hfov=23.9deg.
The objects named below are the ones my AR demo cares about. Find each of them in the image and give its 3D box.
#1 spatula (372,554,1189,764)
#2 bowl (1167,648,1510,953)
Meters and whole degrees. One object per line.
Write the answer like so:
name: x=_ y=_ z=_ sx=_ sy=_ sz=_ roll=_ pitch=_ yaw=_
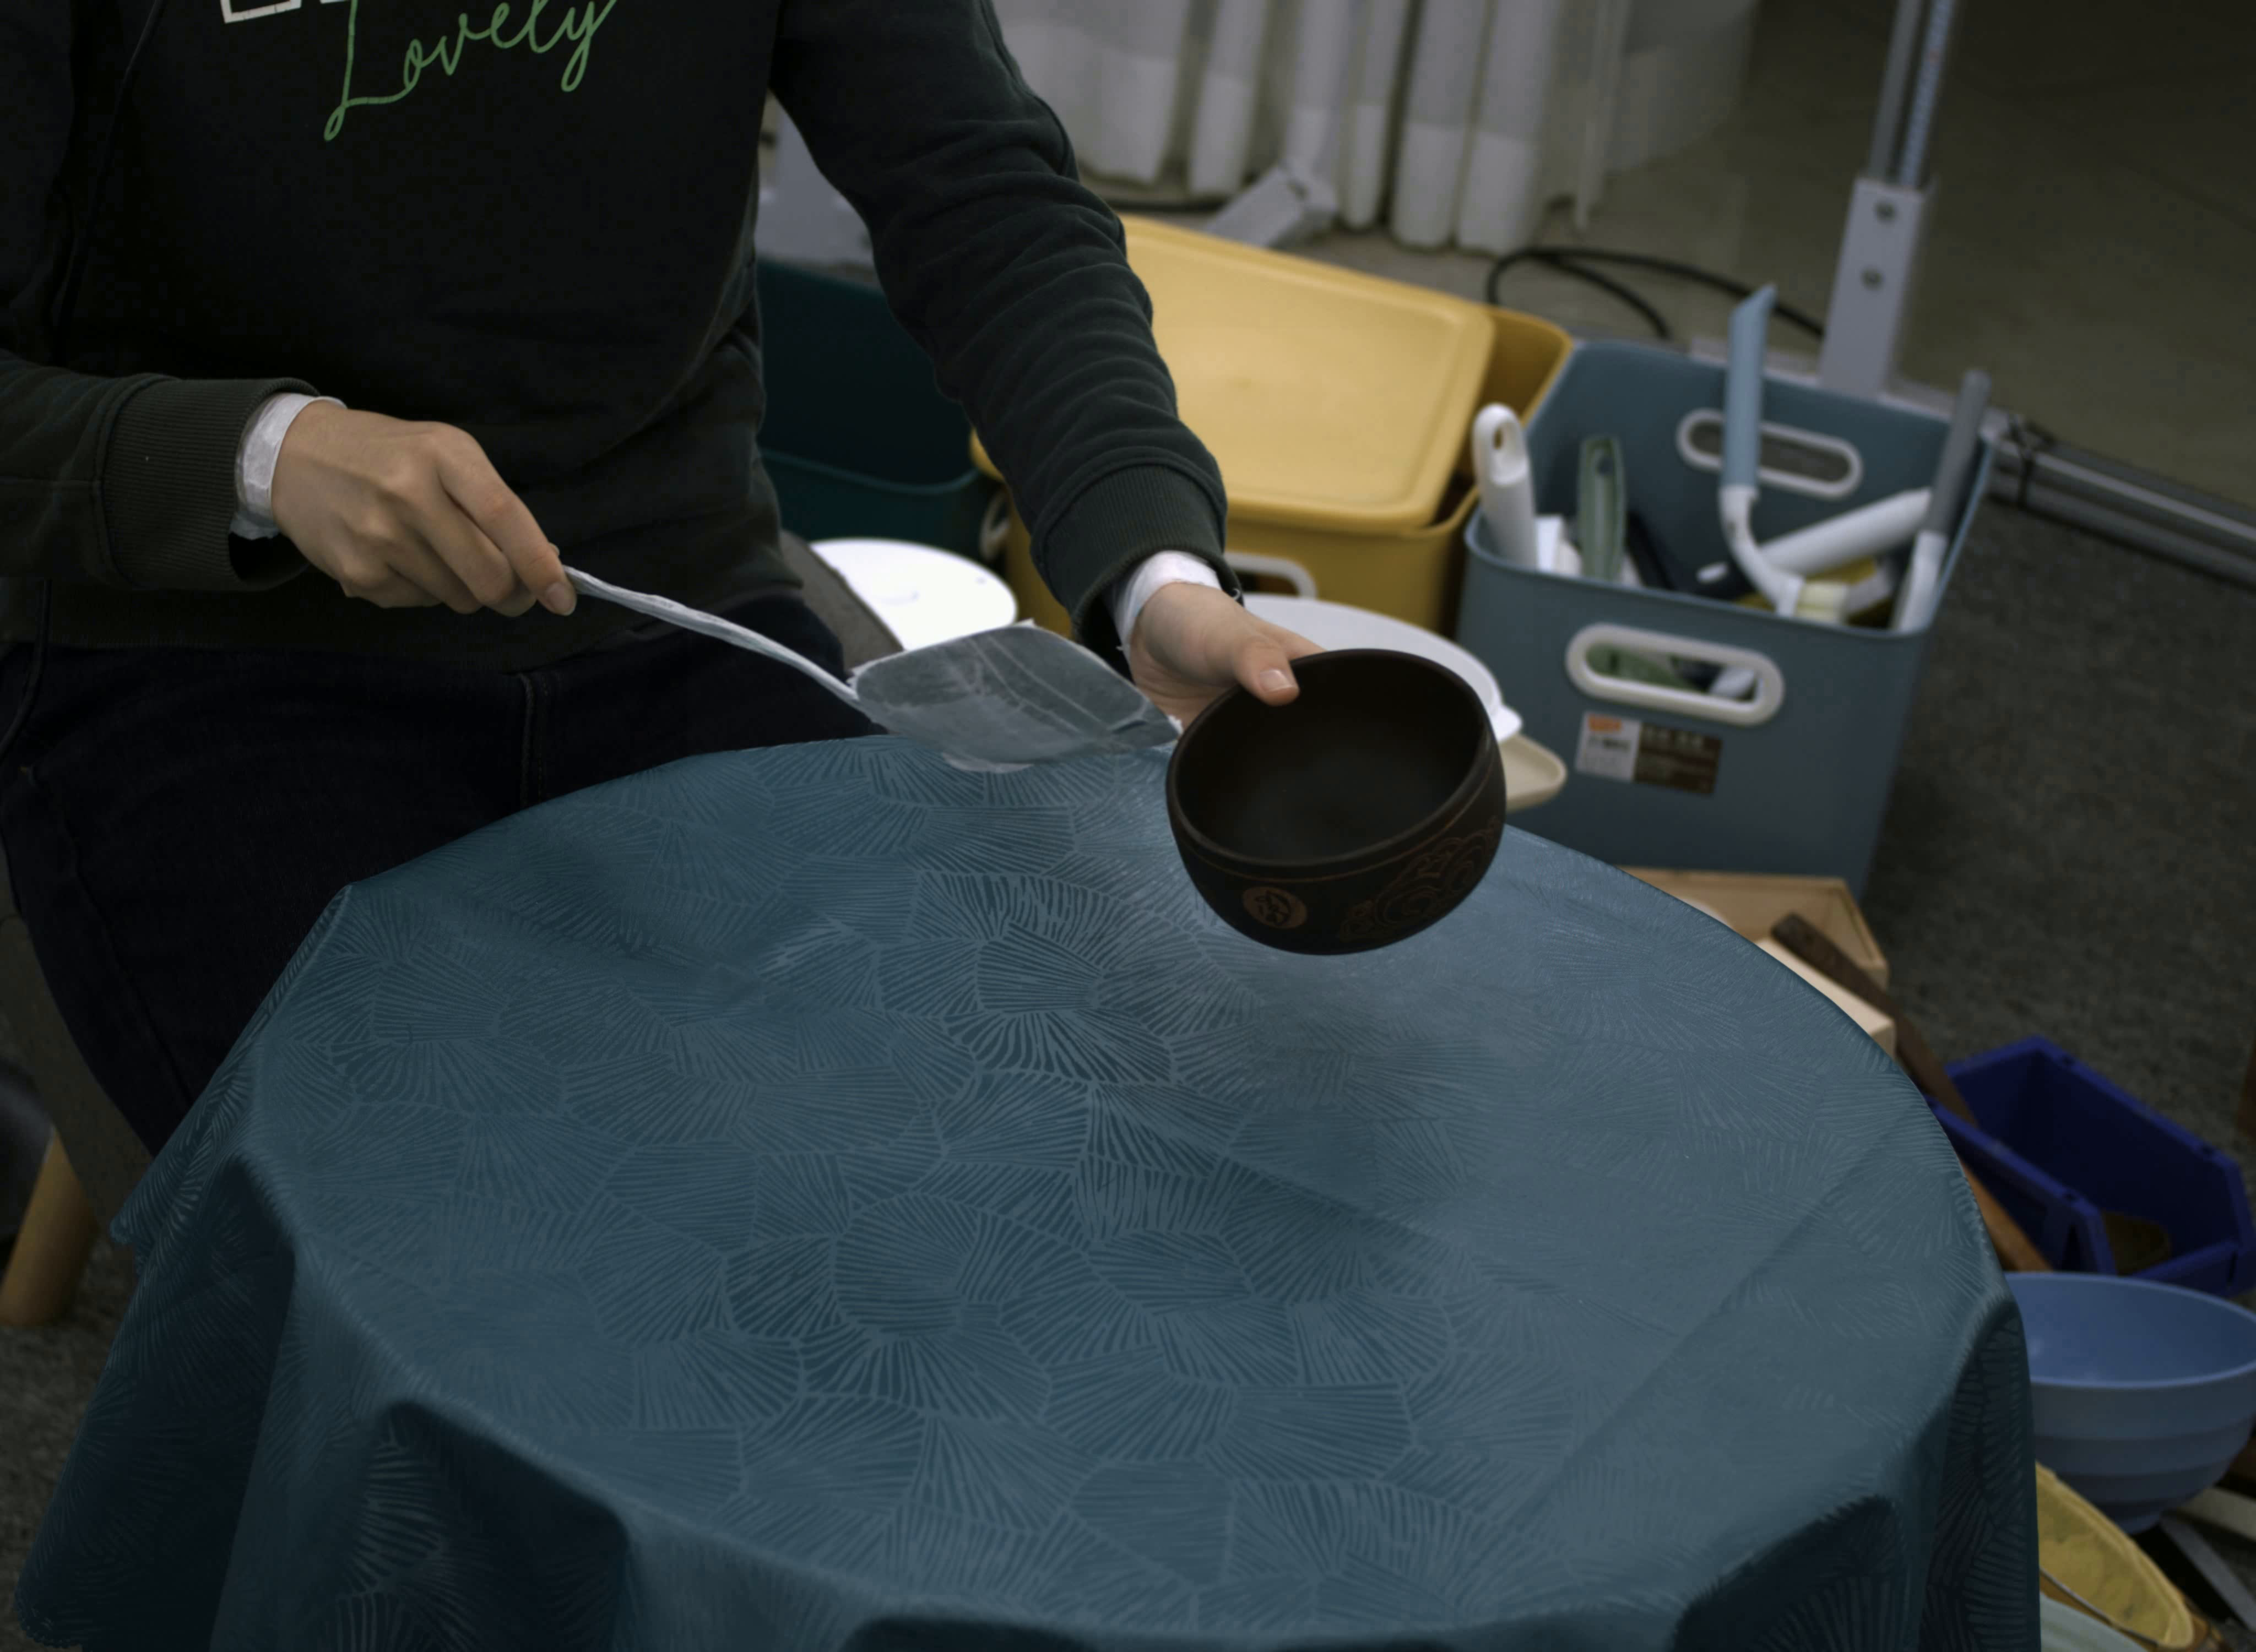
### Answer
spatula: x=-0.138 y=-0.070 z=1.836 sx=0.367 sy=0.045 sz=0.098 roll=17 pitch=-12 yaw=39
bowl: x=0.077 y=0.000 z=1.856 sx=0.118 sy=0.069 sz=0.119 roll=-11 pitch=37 yaw=8
